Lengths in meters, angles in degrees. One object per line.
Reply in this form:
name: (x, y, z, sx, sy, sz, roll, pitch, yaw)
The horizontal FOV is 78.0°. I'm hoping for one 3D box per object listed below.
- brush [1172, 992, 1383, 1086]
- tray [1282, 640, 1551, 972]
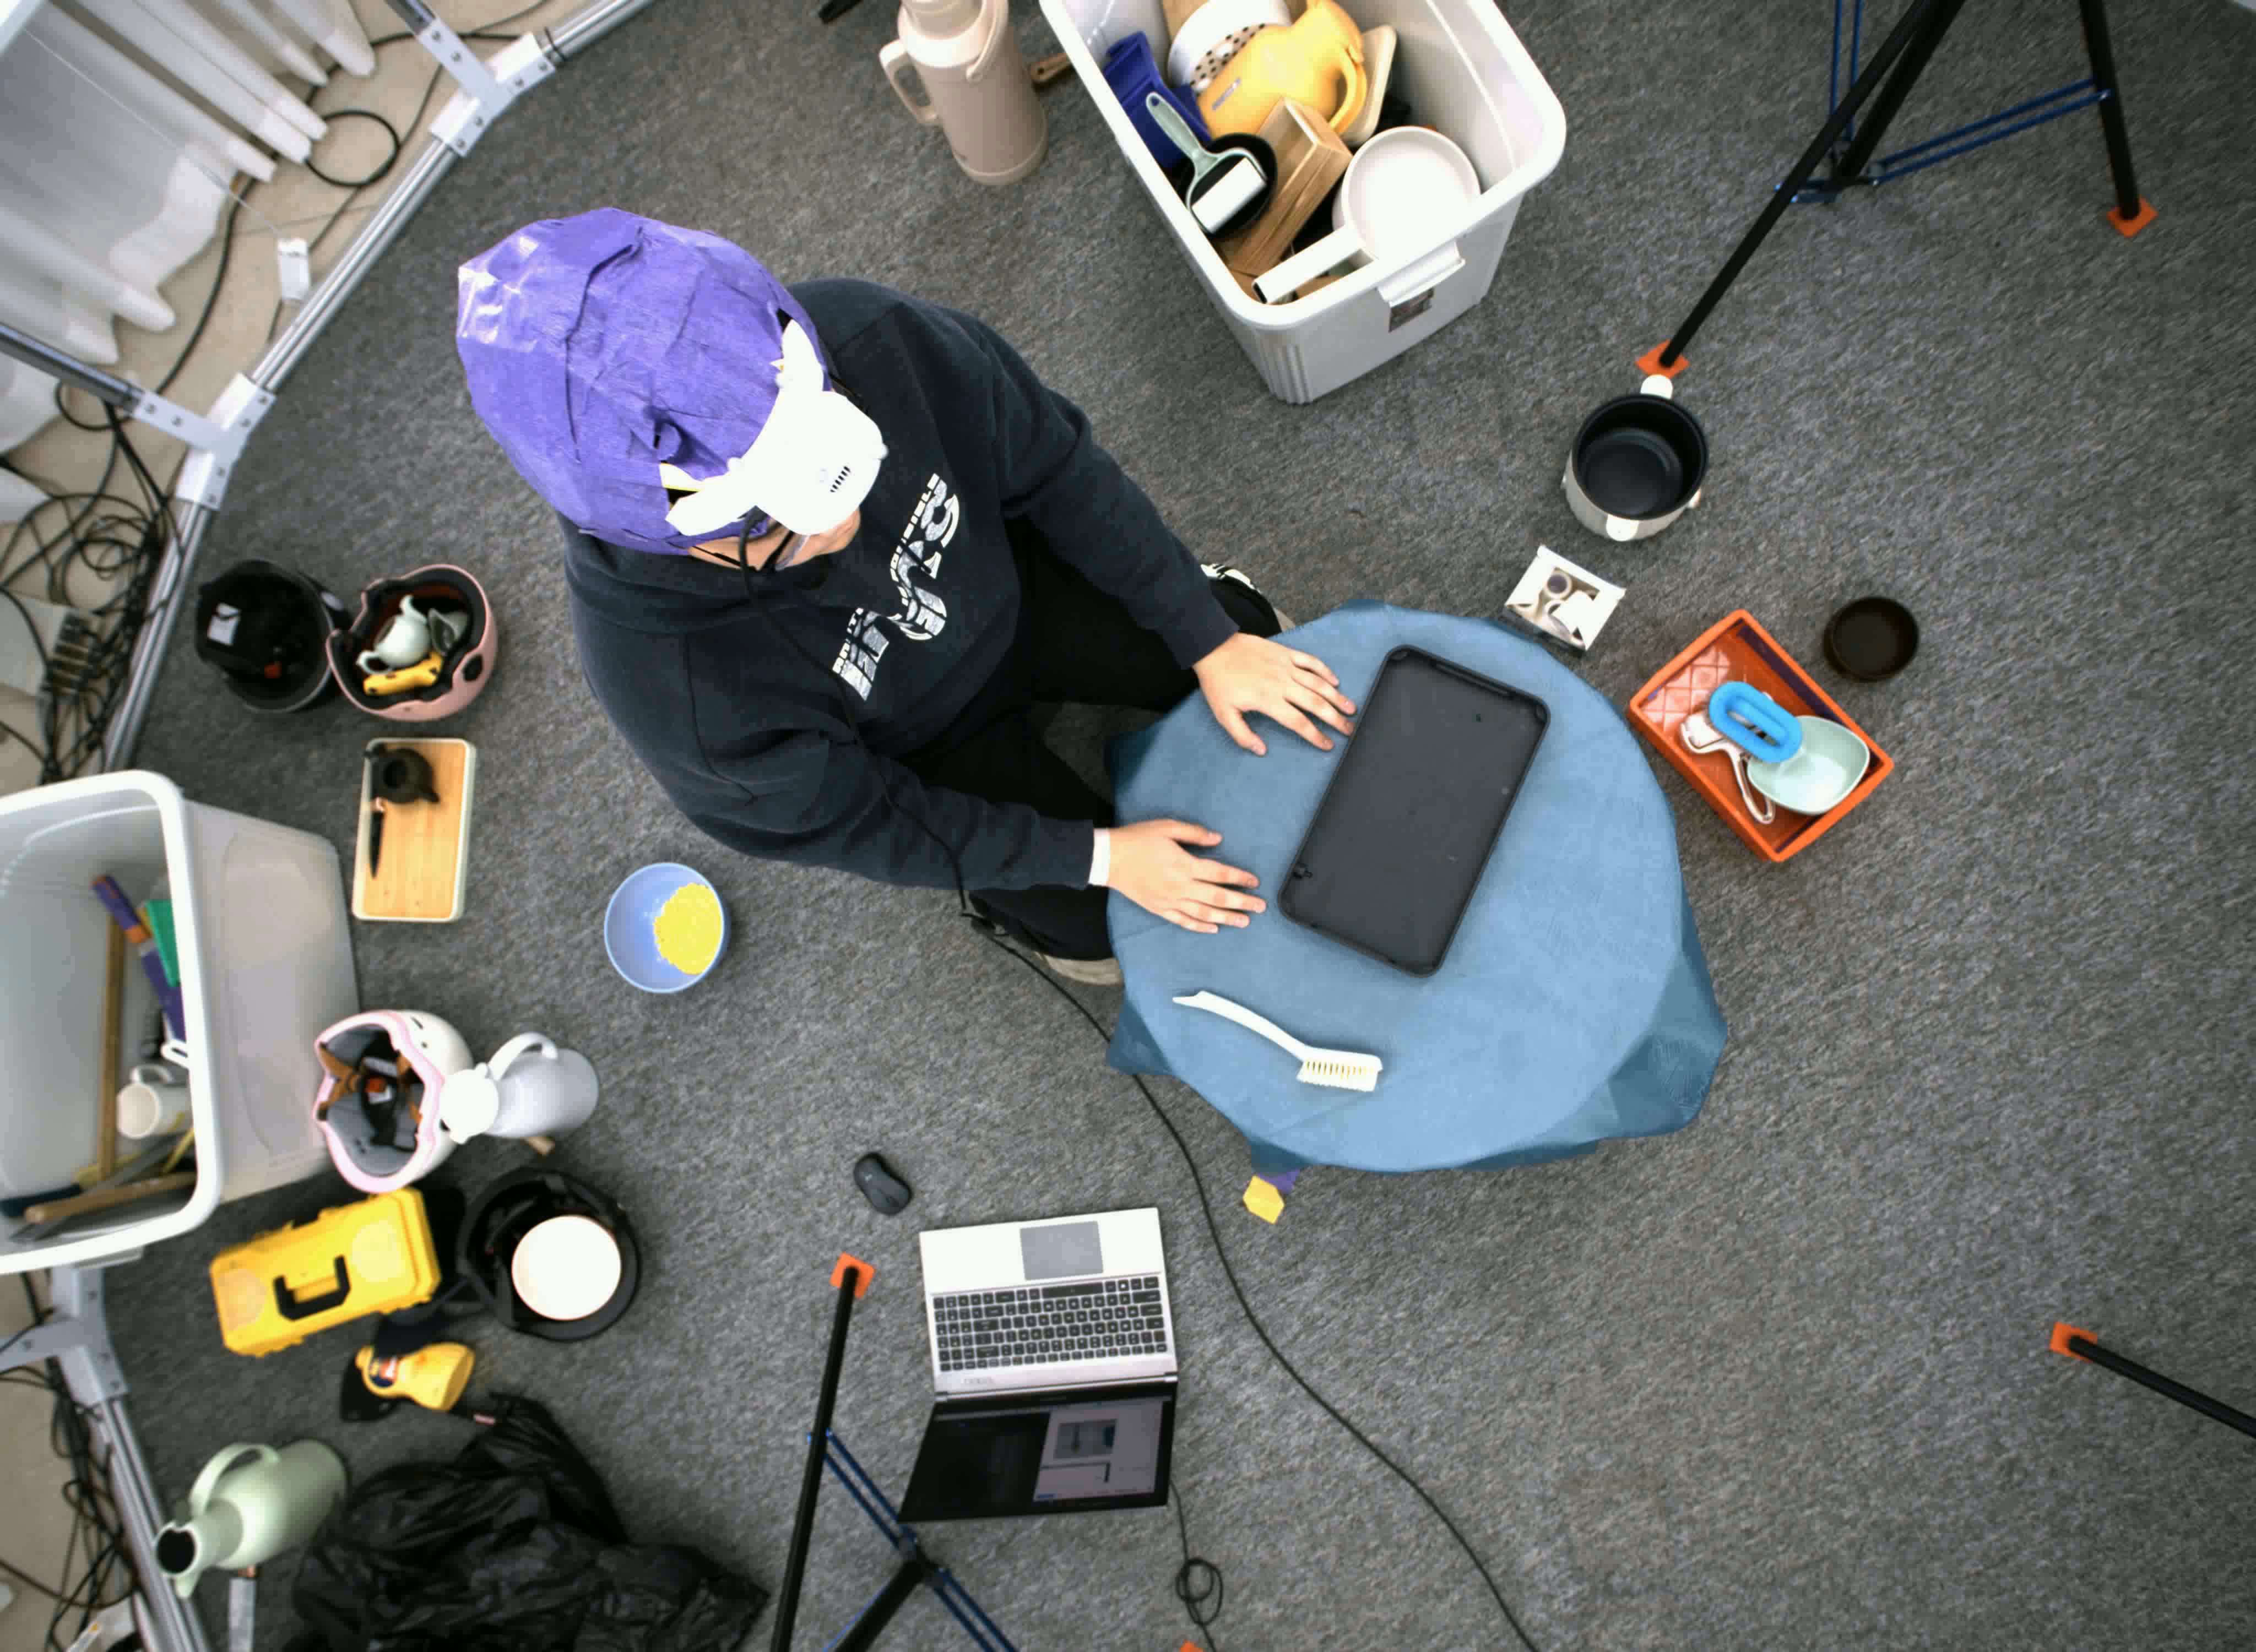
brush: (0.152, 0.225, 1.455, 0.229, 0.038, 0.049, 19, 82, 11)
tray: (0.301, -0.023, 1.443, 0.184, 0.037, 0.318, 23, 91, 12)
